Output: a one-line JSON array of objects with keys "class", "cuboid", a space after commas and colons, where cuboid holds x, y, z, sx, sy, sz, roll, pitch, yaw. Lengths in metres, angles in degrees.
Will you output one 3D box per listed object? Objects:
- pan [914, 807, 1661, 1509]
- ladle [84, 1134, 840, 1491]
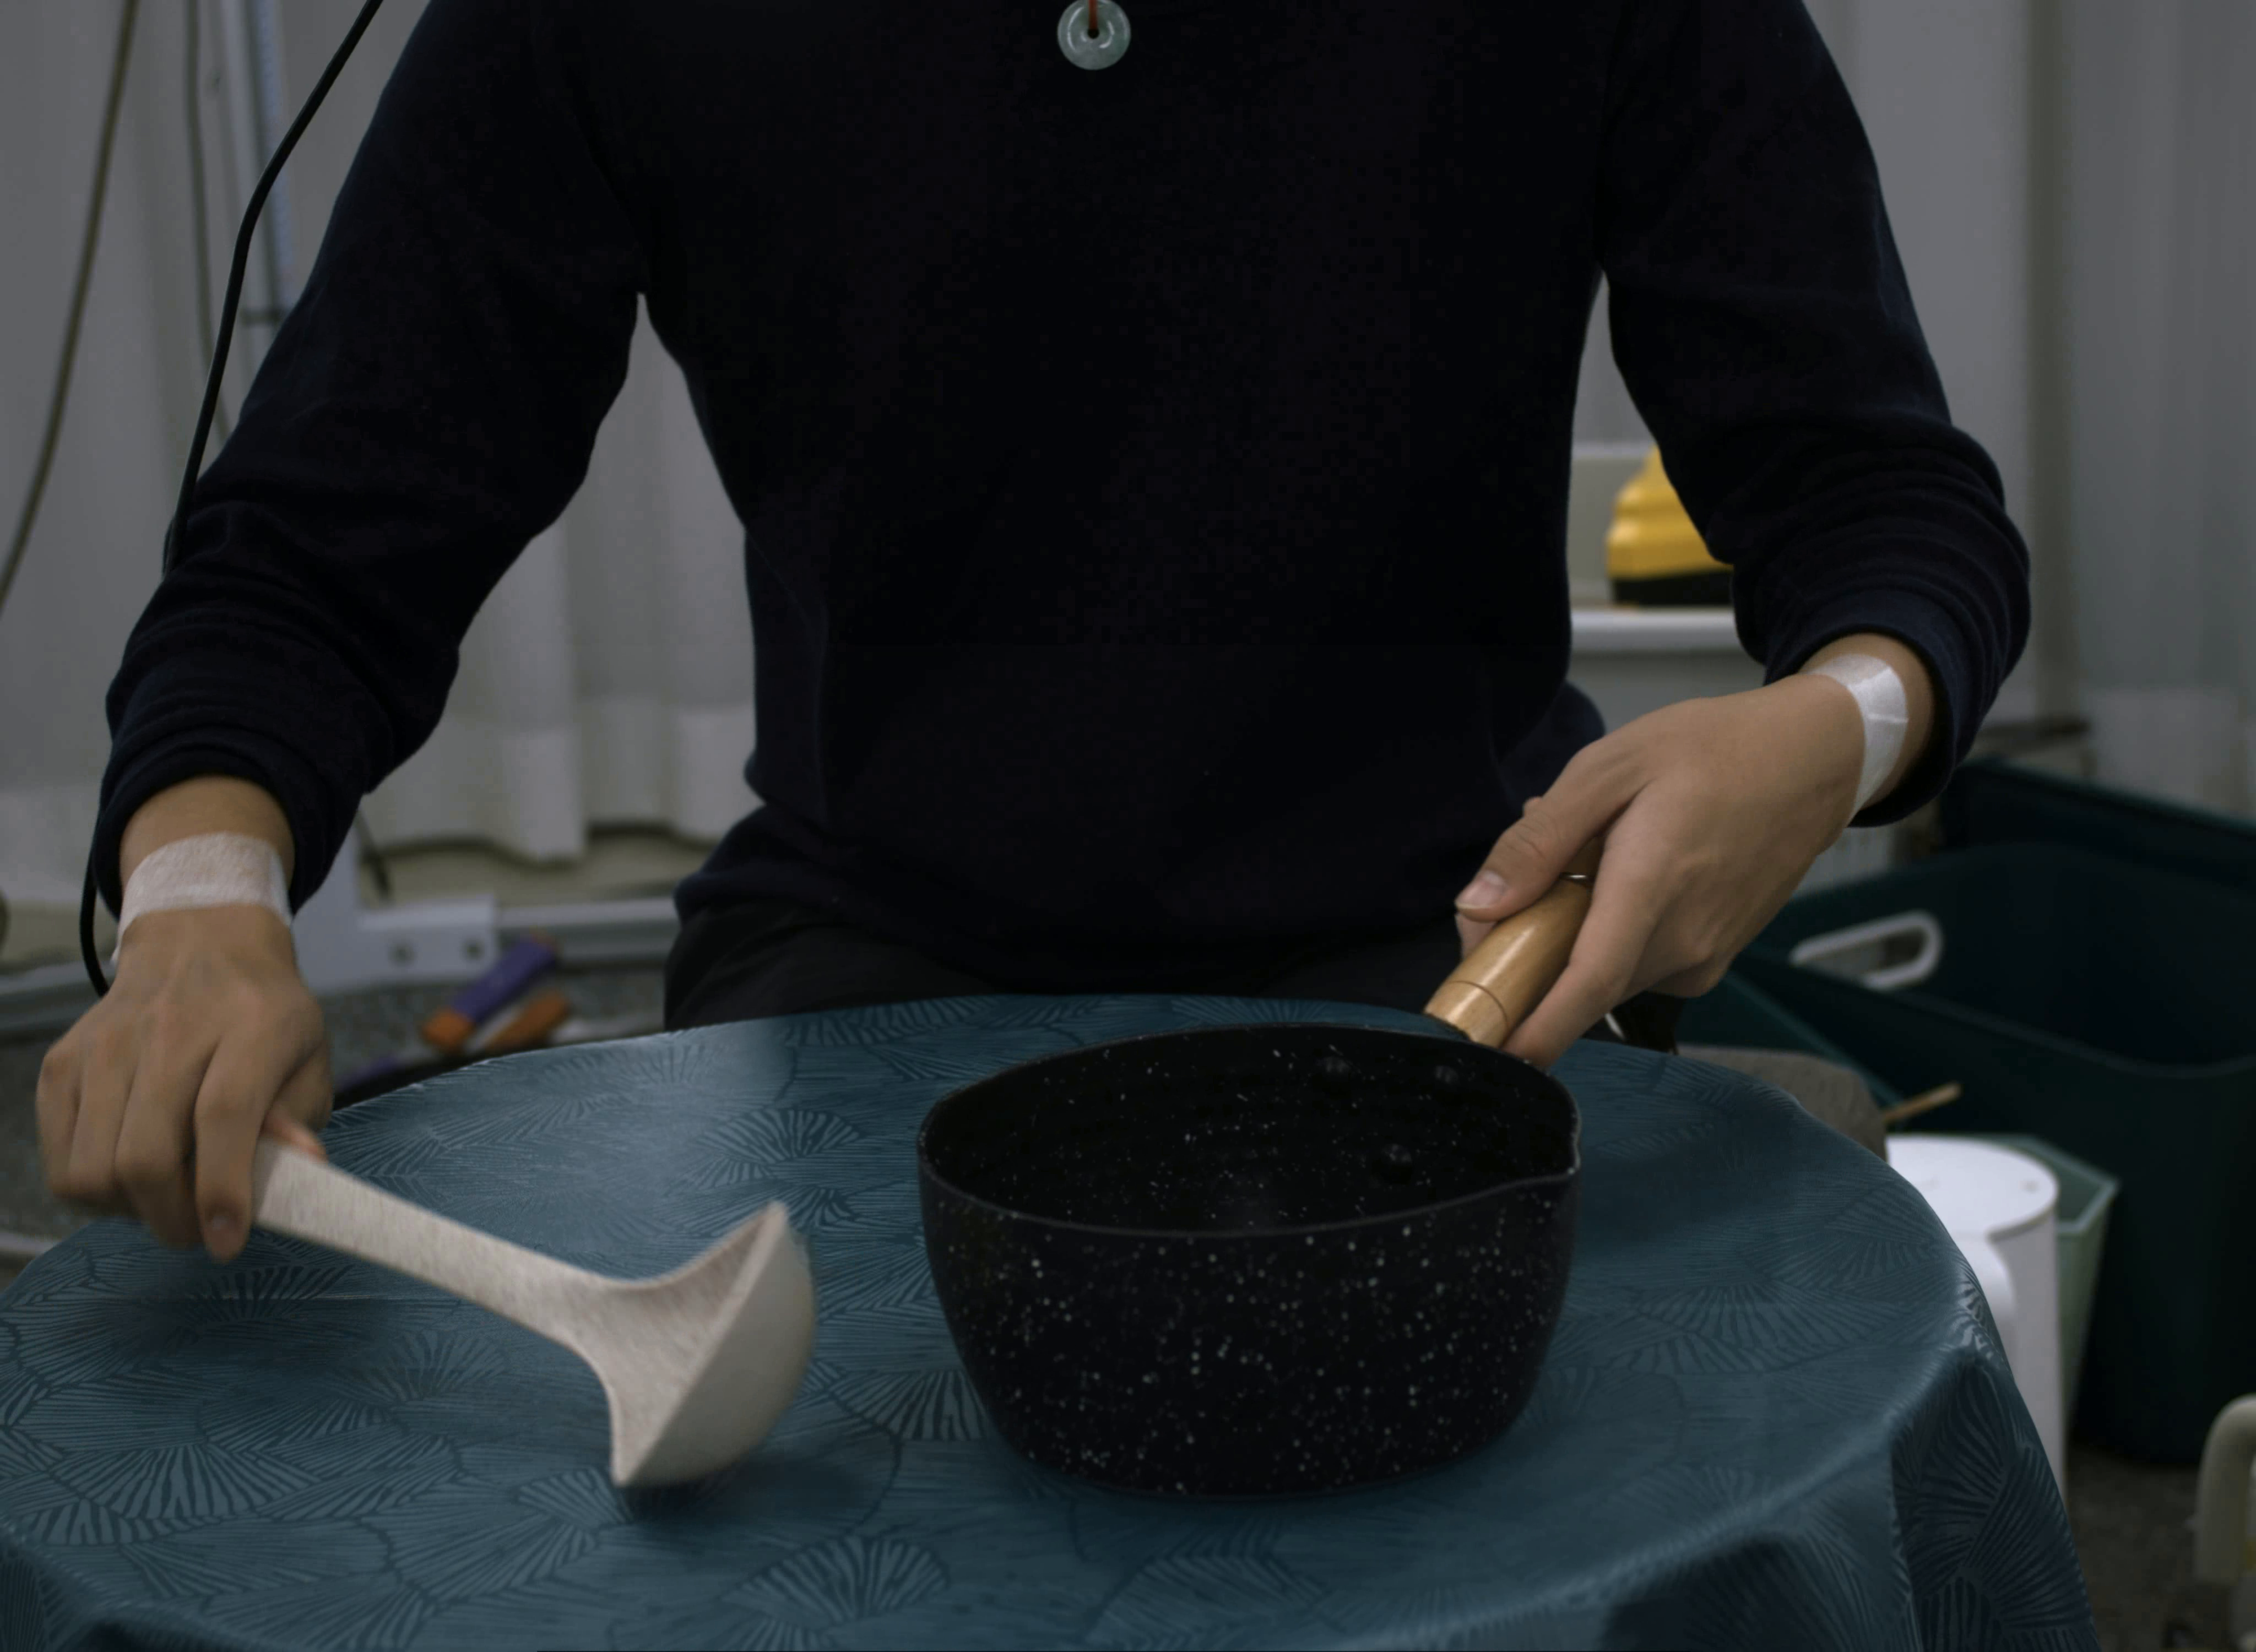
[{"class": "pan", "cuboid": [0.073, 0.091, 1.583, 0.208, 0.108, 0.343, 4, 18, 29]}, {"class": "ladle", "cuboid": [-0.202, 0.116, 1.547, 0.276, 0.090, 0.068, 16, -24, 28]}]
